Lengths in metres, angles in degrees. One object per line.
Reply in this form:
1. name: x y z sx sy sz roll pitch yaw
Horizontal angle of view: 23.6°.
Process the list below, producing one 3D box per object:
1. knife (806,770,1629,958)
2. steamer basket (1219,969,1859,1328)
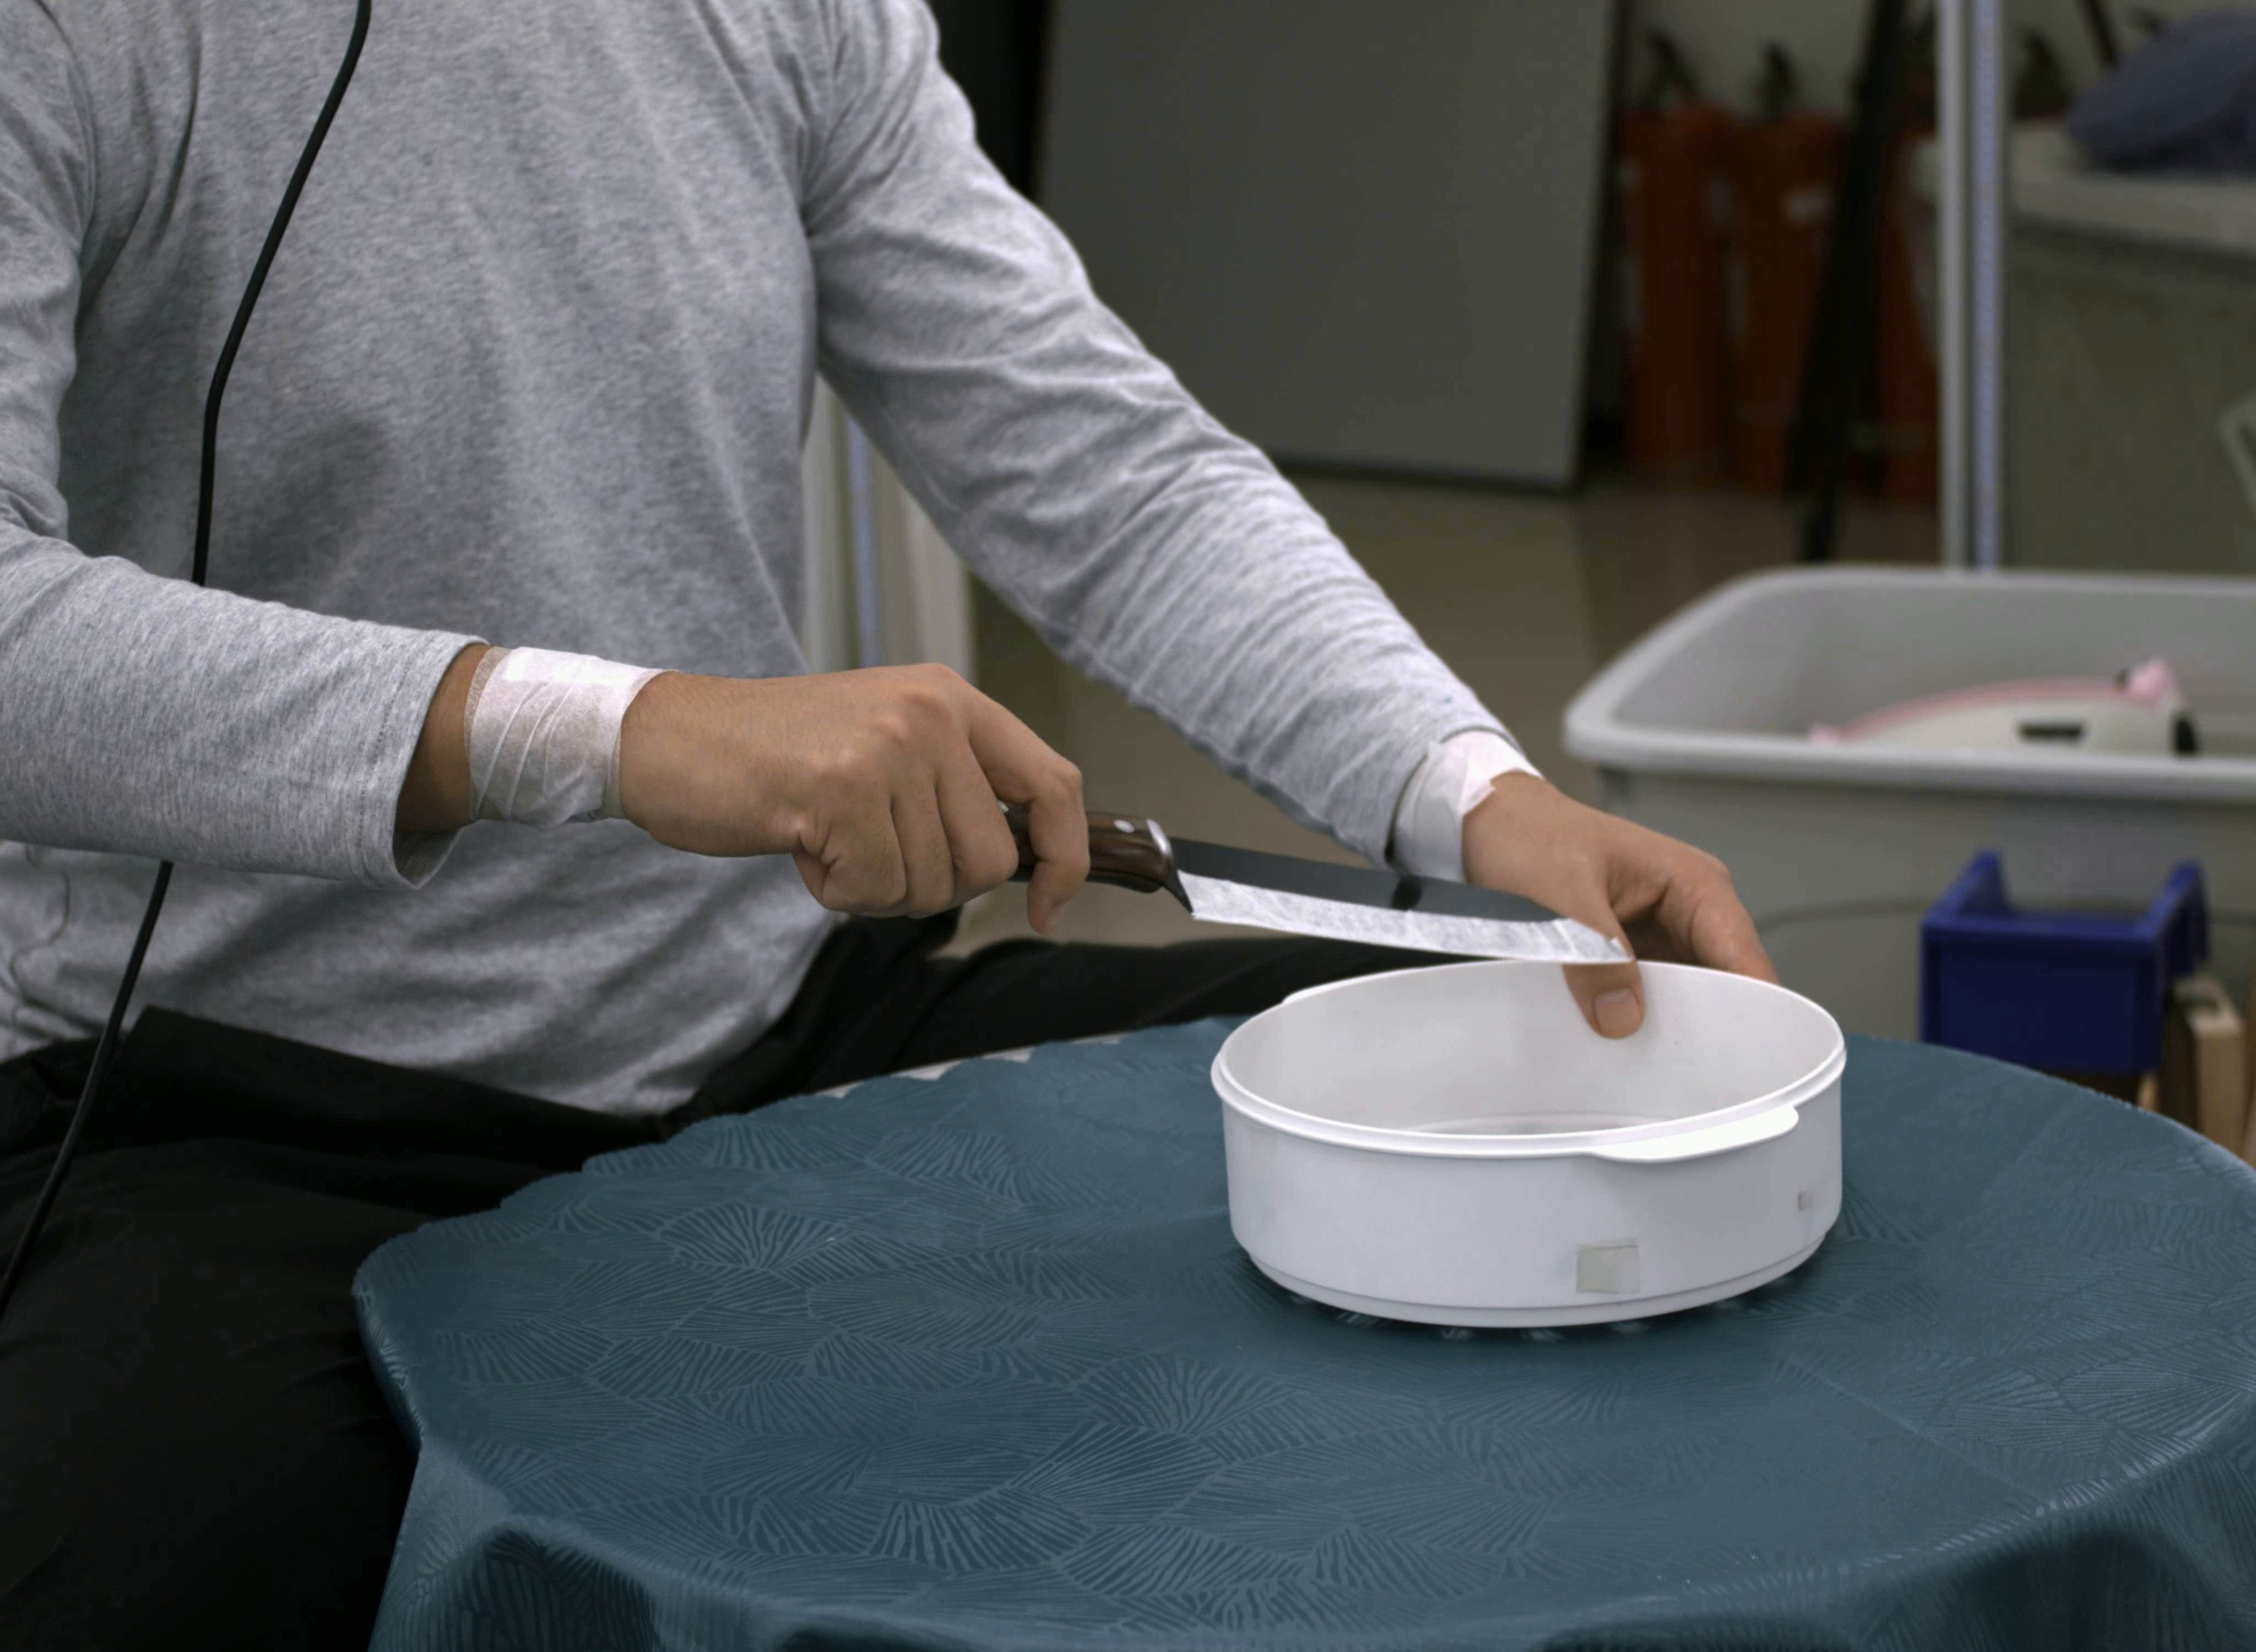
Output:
1. knife: 0.033 0.015 1.684 0.283 0.020 0.051 10 33 -23
2. steamer basket: 0.129 0.101 1.680 0.197 0.070 0.233 -10 14 -24
